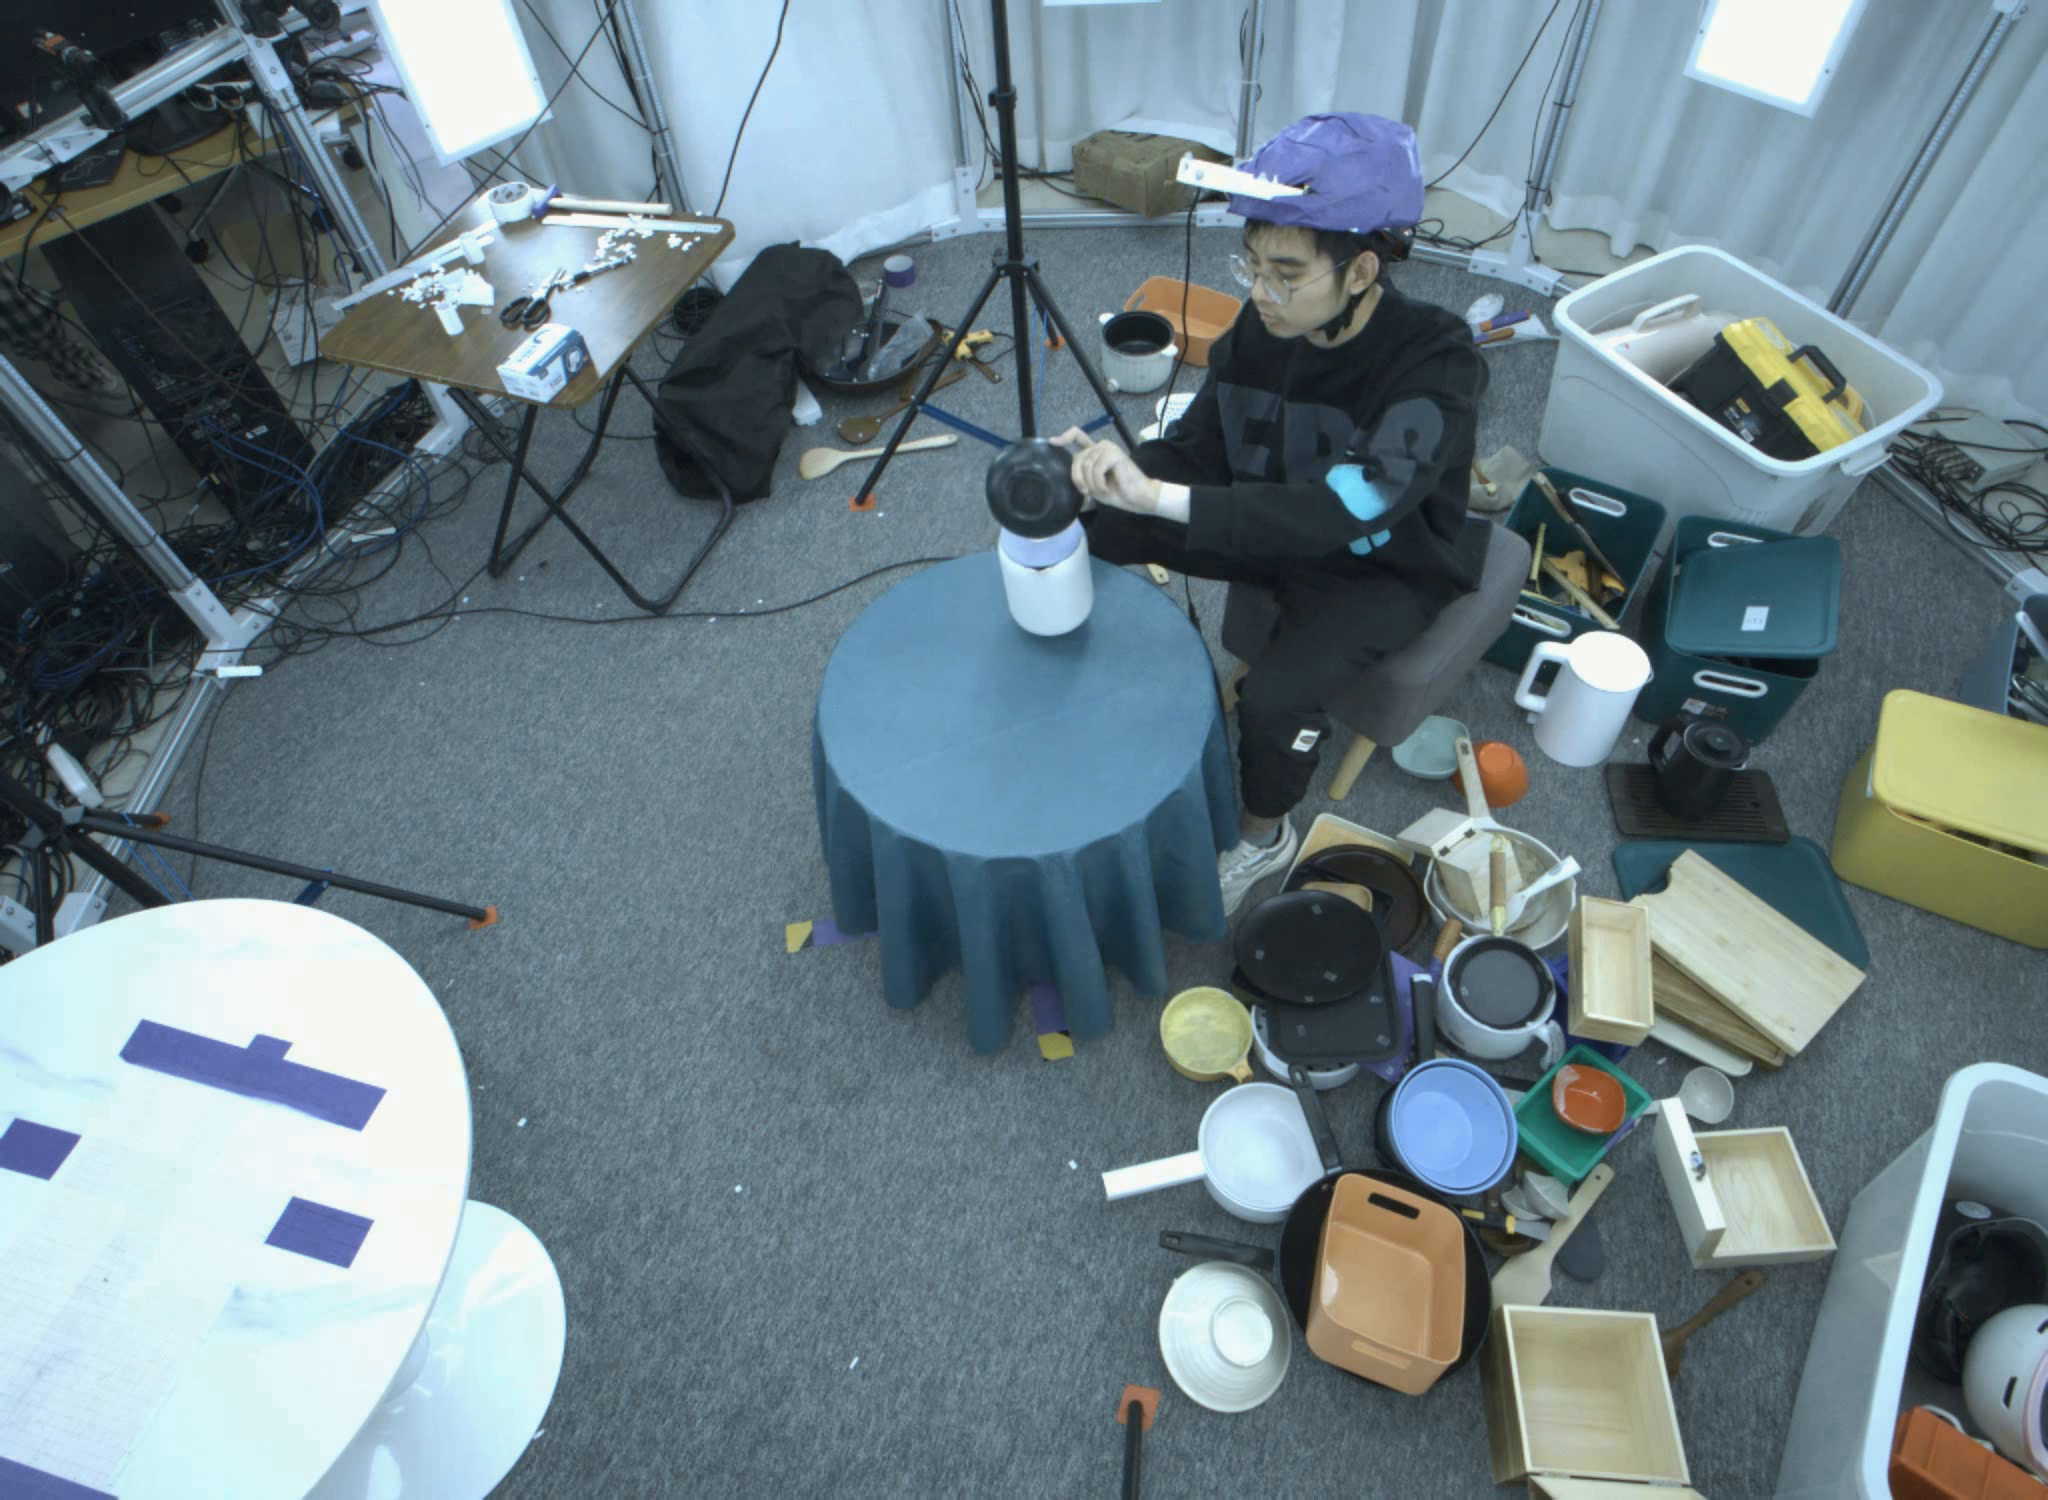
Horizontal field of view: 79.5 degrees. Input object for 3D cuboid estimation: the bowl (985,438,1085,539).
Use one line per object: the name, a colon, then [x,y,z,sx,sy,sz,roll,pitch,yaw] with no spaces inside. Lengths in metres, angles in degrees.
bowl: [0.009,-0.346,1.632,0.139,0.141,0.050,8,24,8]

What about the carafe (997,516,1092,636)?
carafe: [0.030,-0.289,1.837,0.132,0.185,0.189,-3,57,4]
